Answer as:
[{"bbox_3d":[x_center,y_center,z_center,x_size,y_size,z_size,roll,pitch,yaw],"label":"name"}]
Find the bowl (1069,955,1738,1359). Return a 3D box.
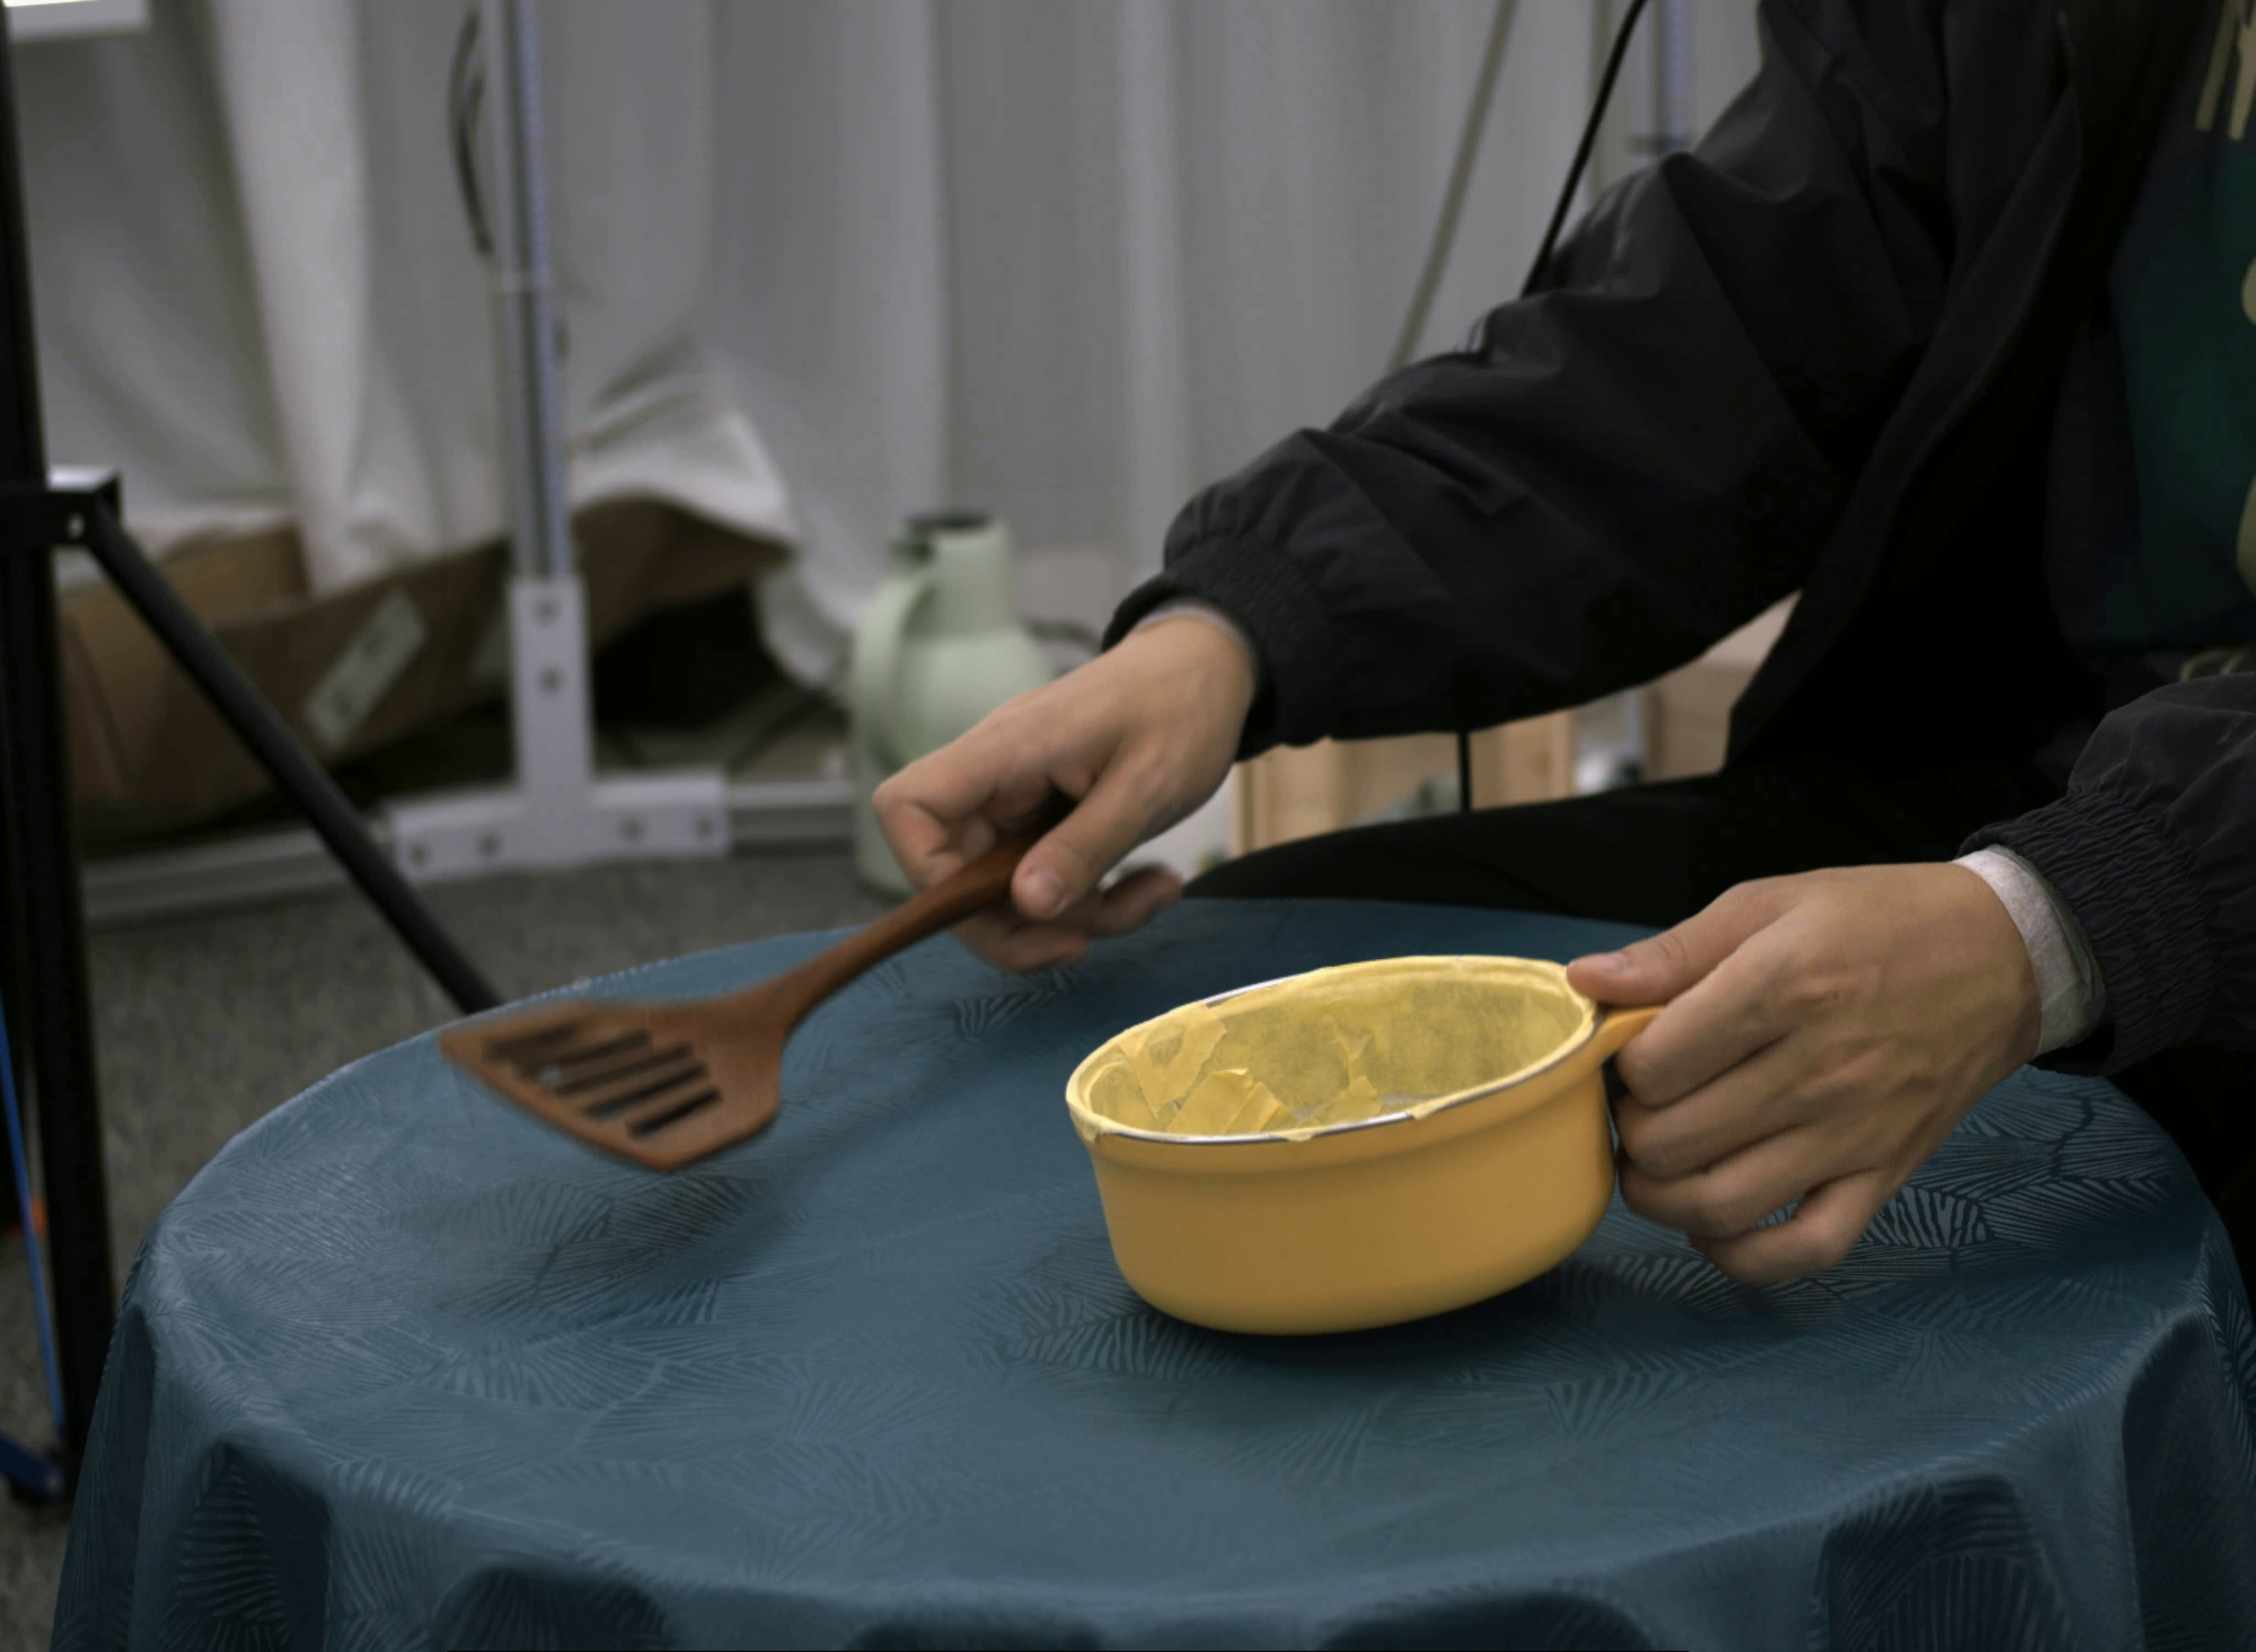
[{"bbox_3d":[0.077,0.092,1.465,0.178,0.074,0.154,-11,15,-4],"label":"bowl"}]

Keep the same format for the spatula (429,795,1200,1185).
[{"bbox_3d":[-0.078,0.045,1.658,0.087,0.024,0.380,24,27,24],"label":"spatula"}]
